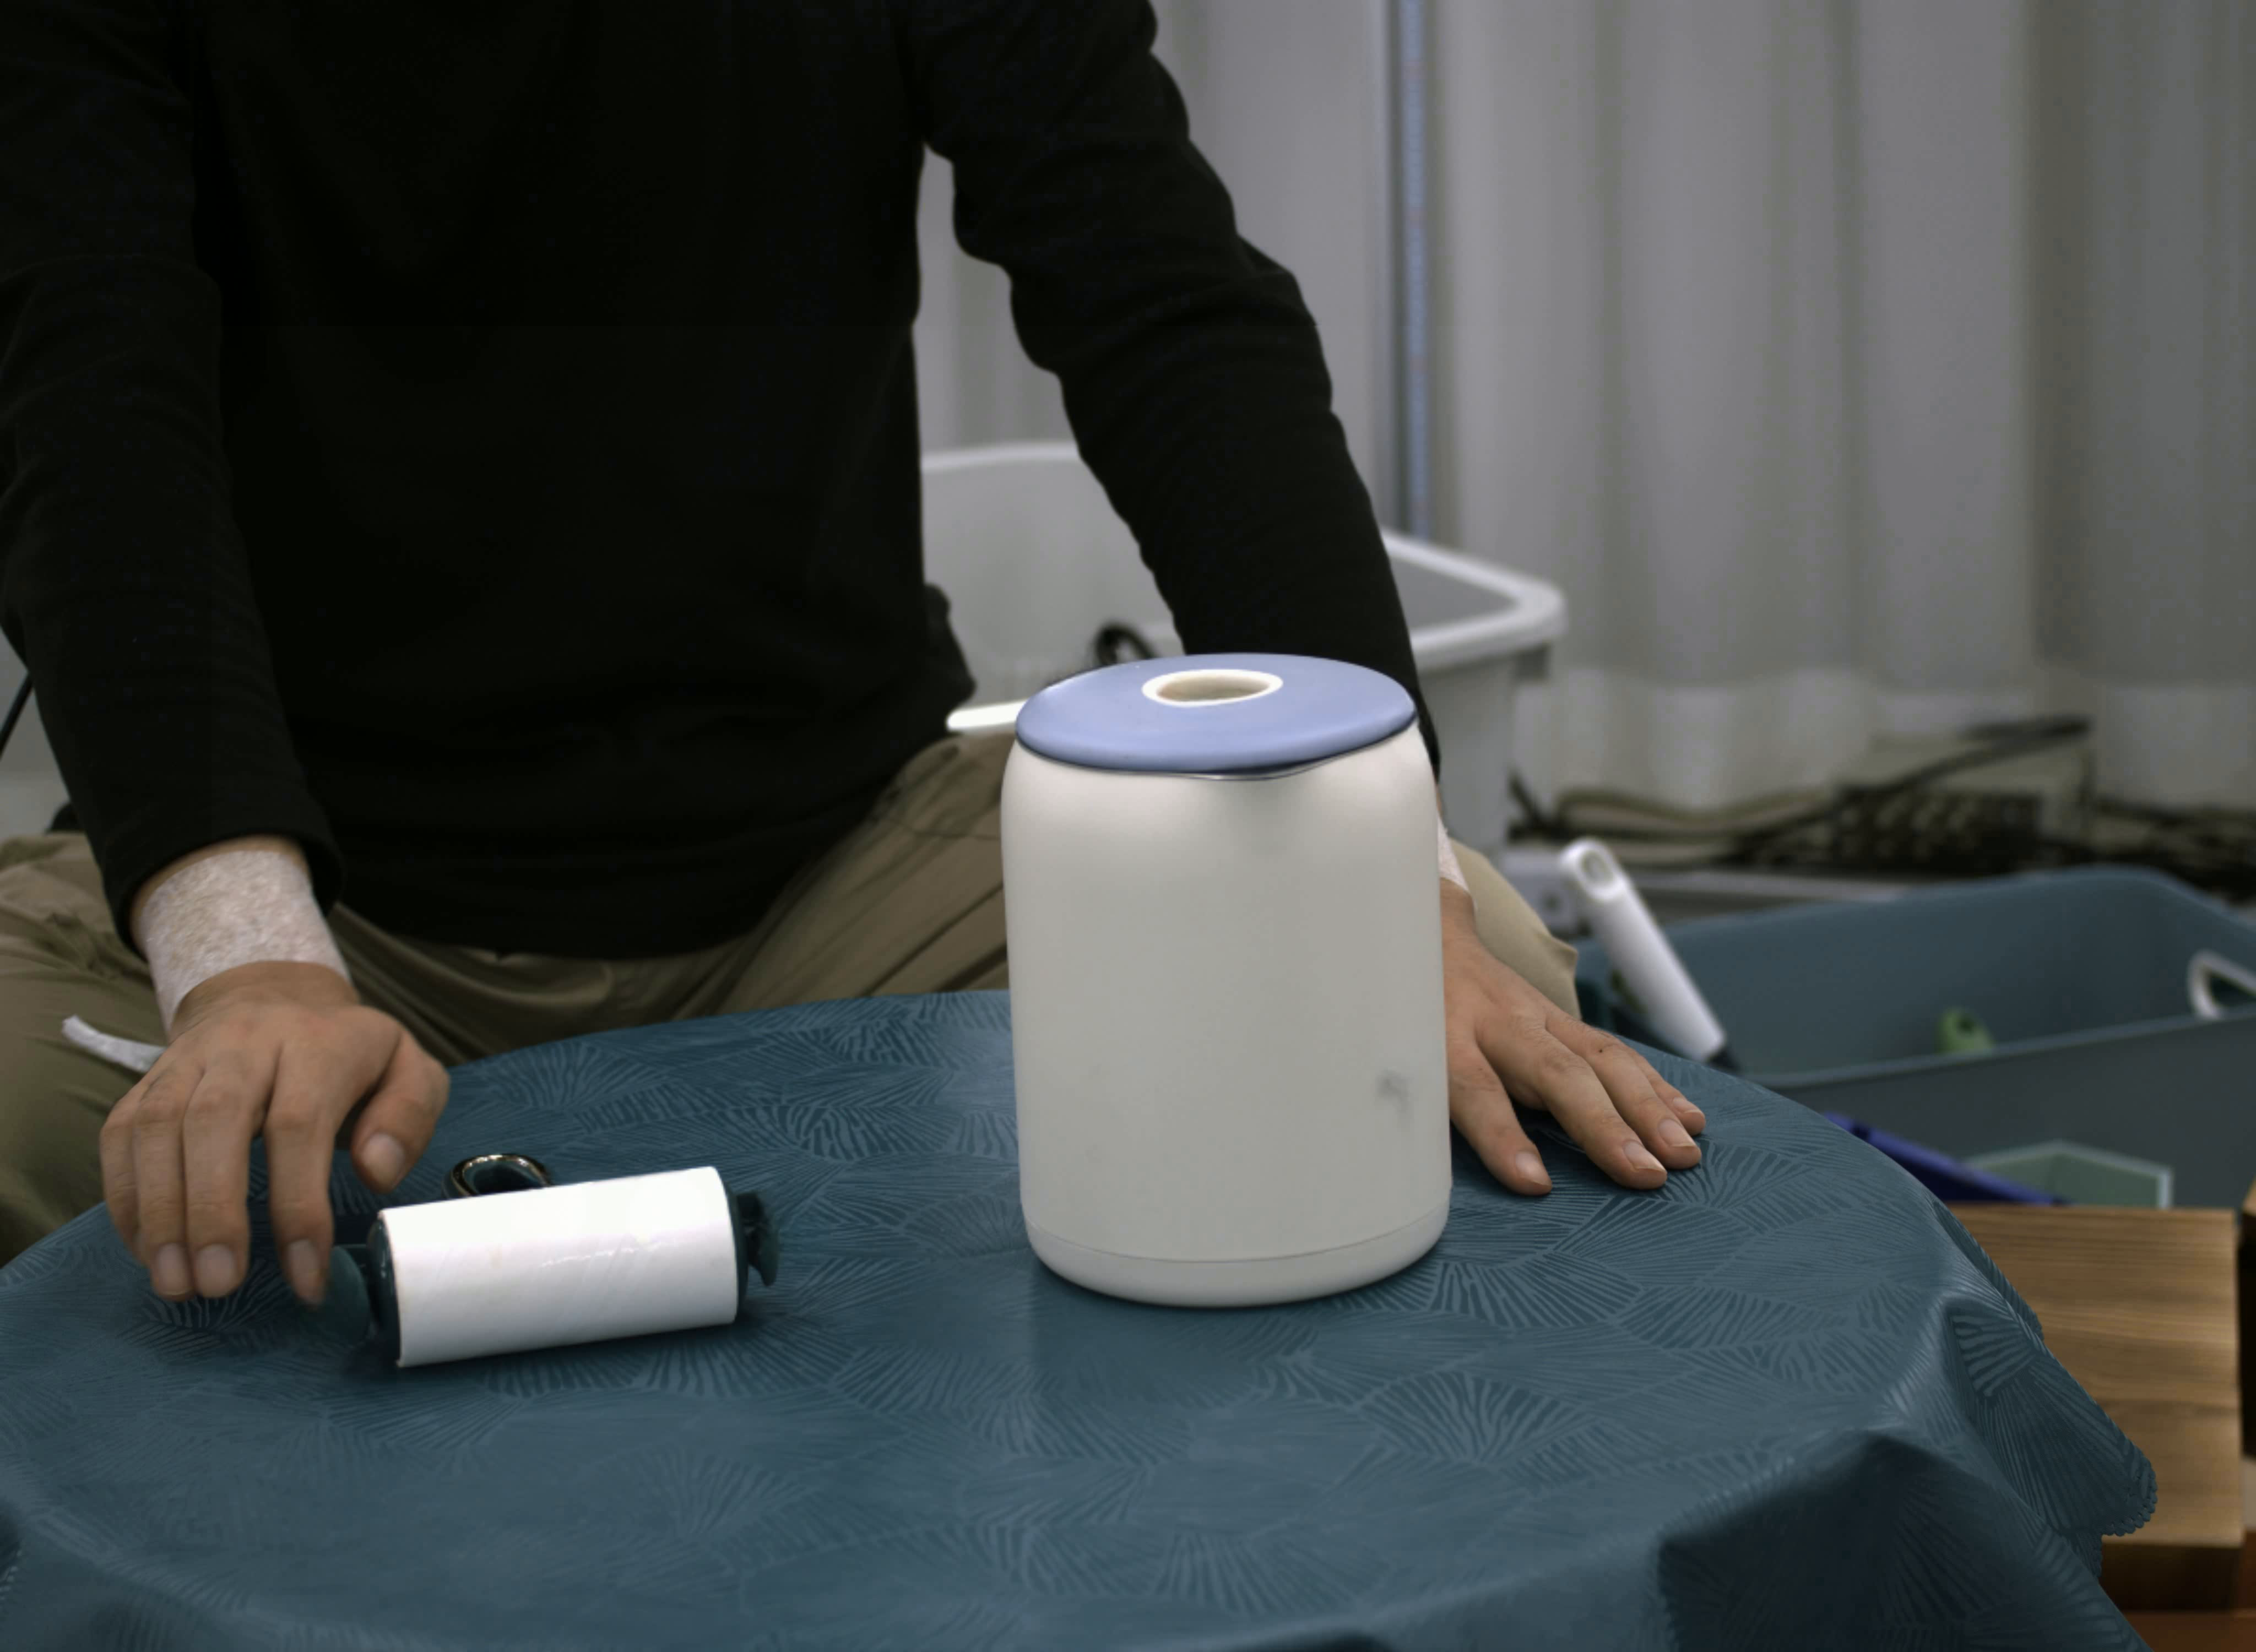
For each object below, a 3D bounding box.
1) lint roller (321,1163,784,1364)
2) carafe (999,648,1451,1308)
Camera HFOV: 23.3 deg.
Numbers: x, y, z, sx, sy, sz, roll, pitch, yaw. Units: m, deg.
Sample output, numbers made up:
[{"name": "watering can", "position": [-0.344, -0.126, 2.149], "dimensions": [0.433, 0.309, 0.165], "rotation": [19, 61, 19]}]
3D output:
[{"name": "lint roller", "position": [-0.185, 0.116, 1.665], "dimensions": [0.134, 0.048, 0.181], "rotation": [-6, 12, -14]}, {"name": "carafe", "position": [0.023, 0.039, 1.664], "dimensions": [0.131, 0.182, 0.192], "rotation": [-5, 12, -13]}]
